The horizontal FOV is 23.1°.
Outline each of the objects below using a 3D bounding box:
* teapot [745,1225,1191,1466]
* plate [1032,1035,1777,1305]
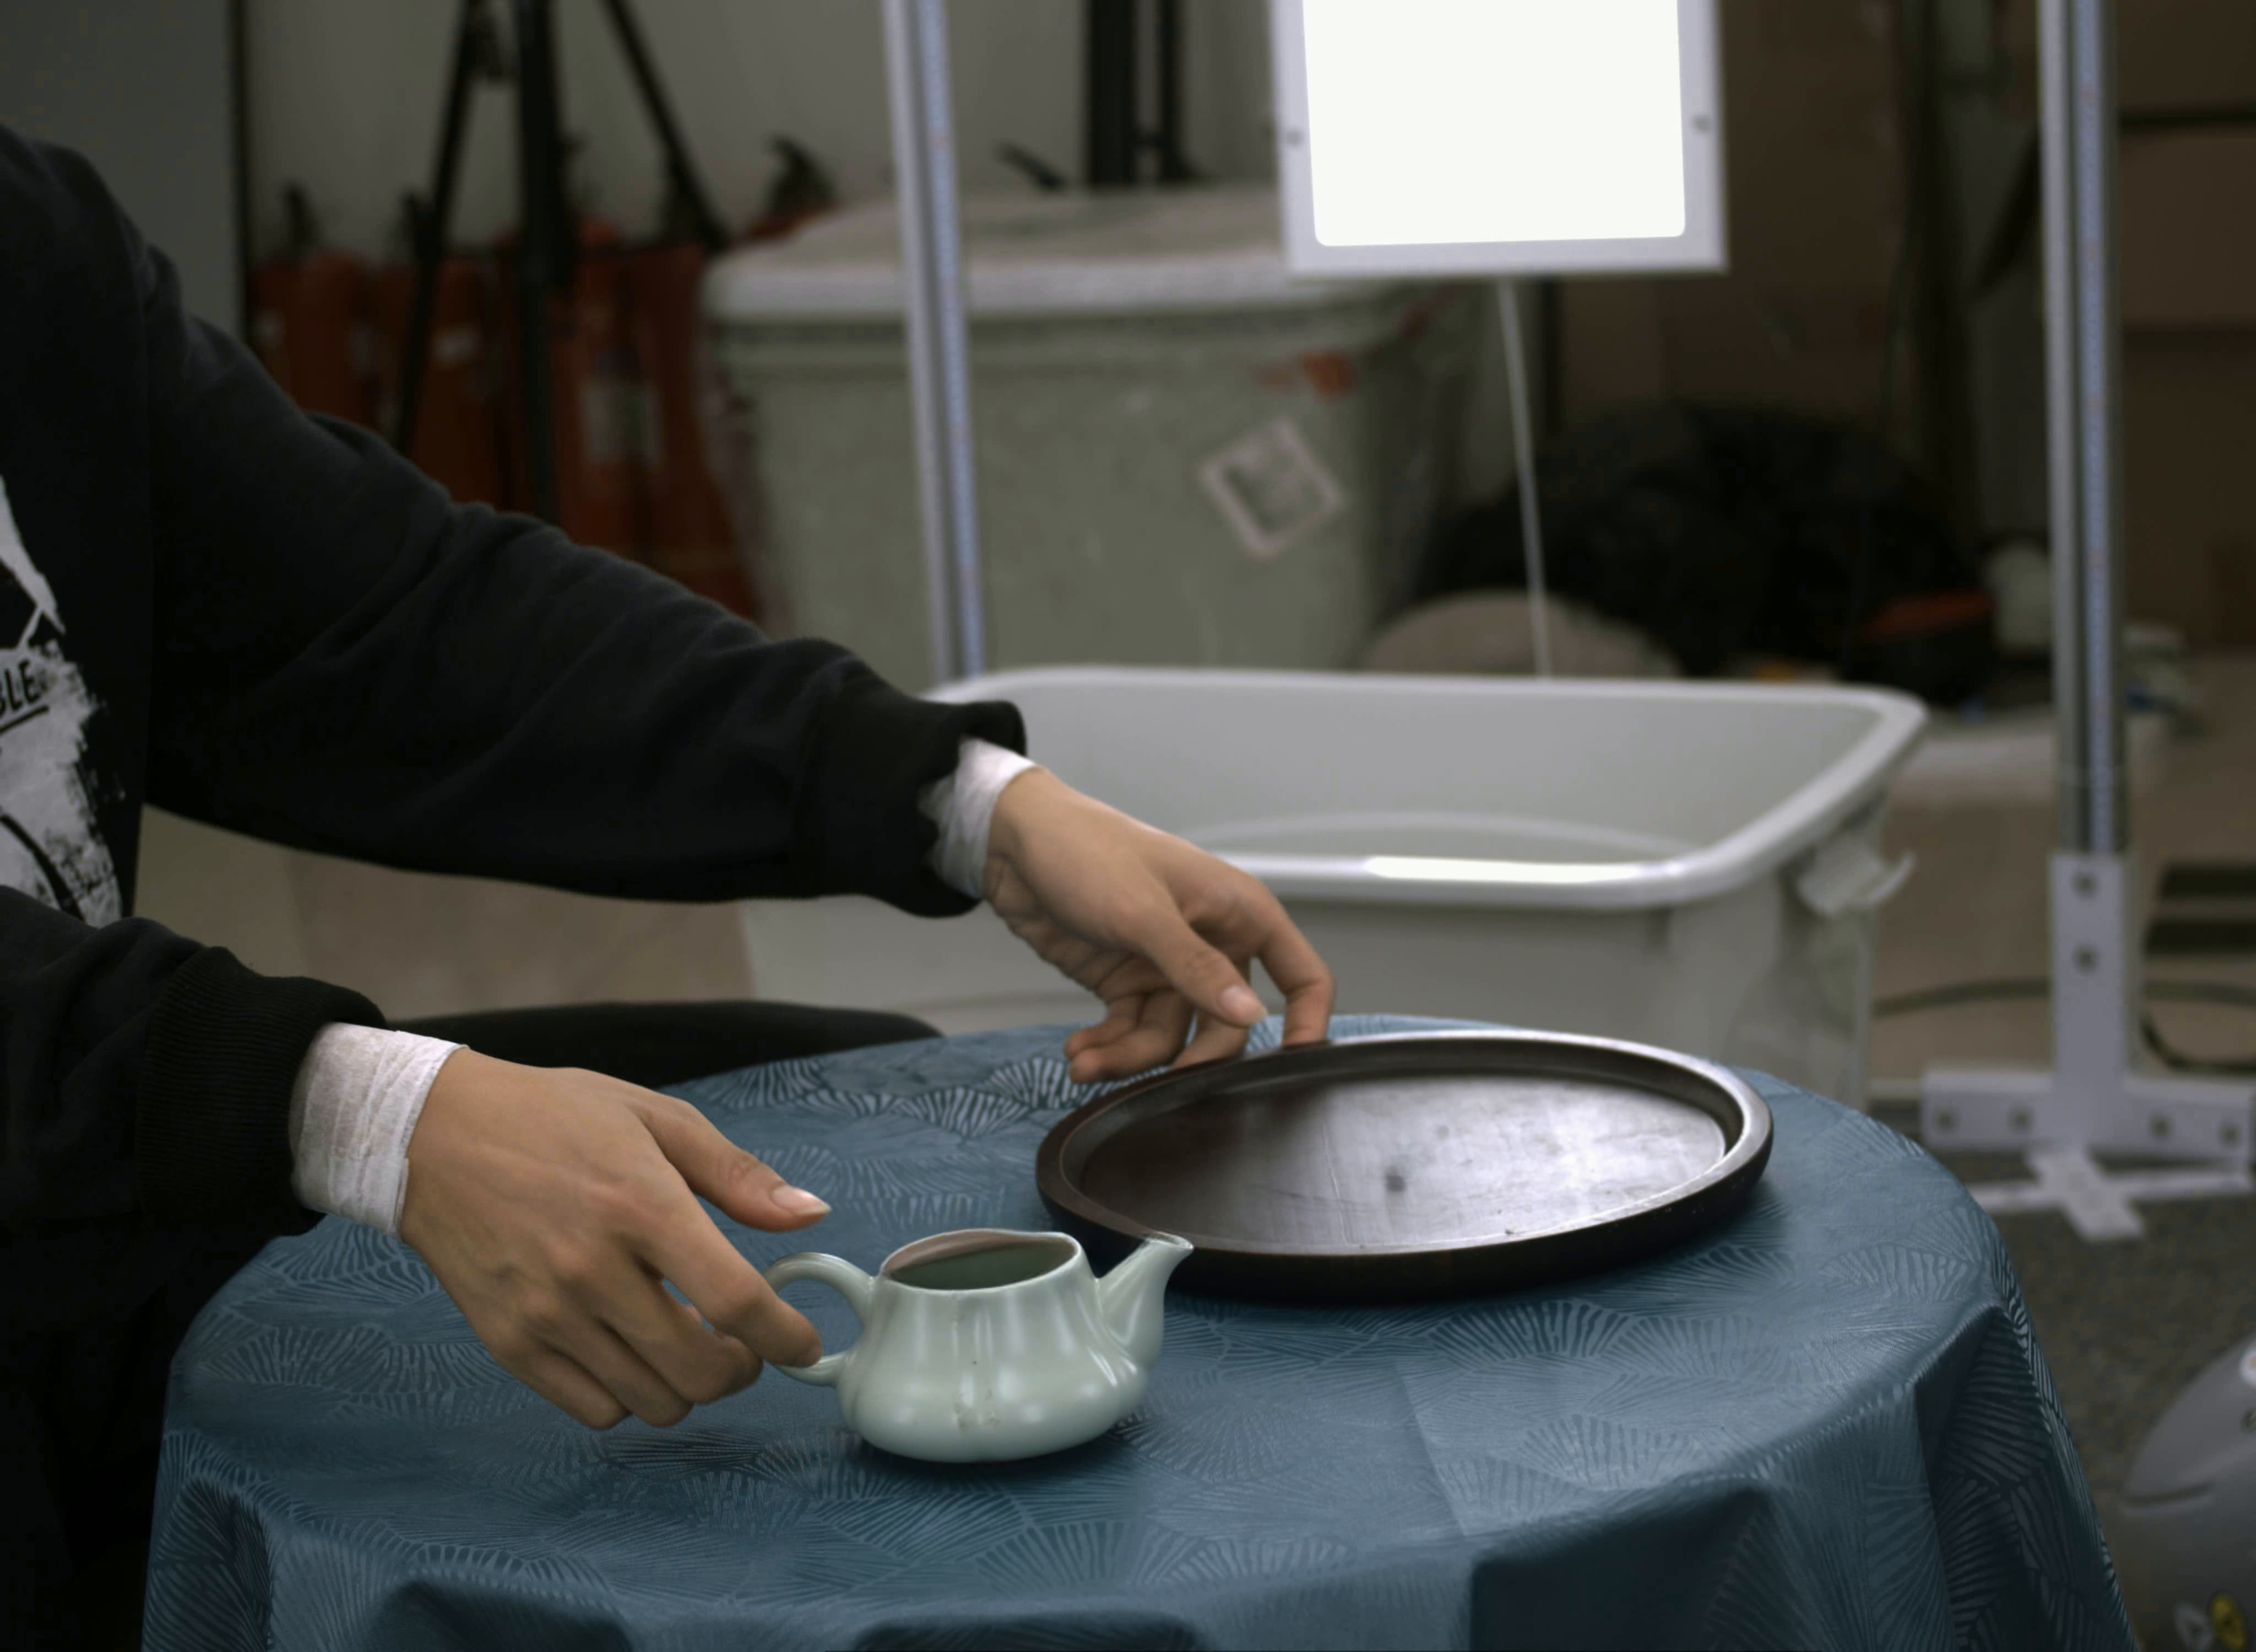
[{"bbox_3d":[-0.047,0.156,1.669,0.137,0.061,0.096,-4,15,3],"label":"teapot"},{"bbox_3d":[0.094,0.114,1.865,0.254,0.029,0.254,-5,15,0],"label":"plate"}]
